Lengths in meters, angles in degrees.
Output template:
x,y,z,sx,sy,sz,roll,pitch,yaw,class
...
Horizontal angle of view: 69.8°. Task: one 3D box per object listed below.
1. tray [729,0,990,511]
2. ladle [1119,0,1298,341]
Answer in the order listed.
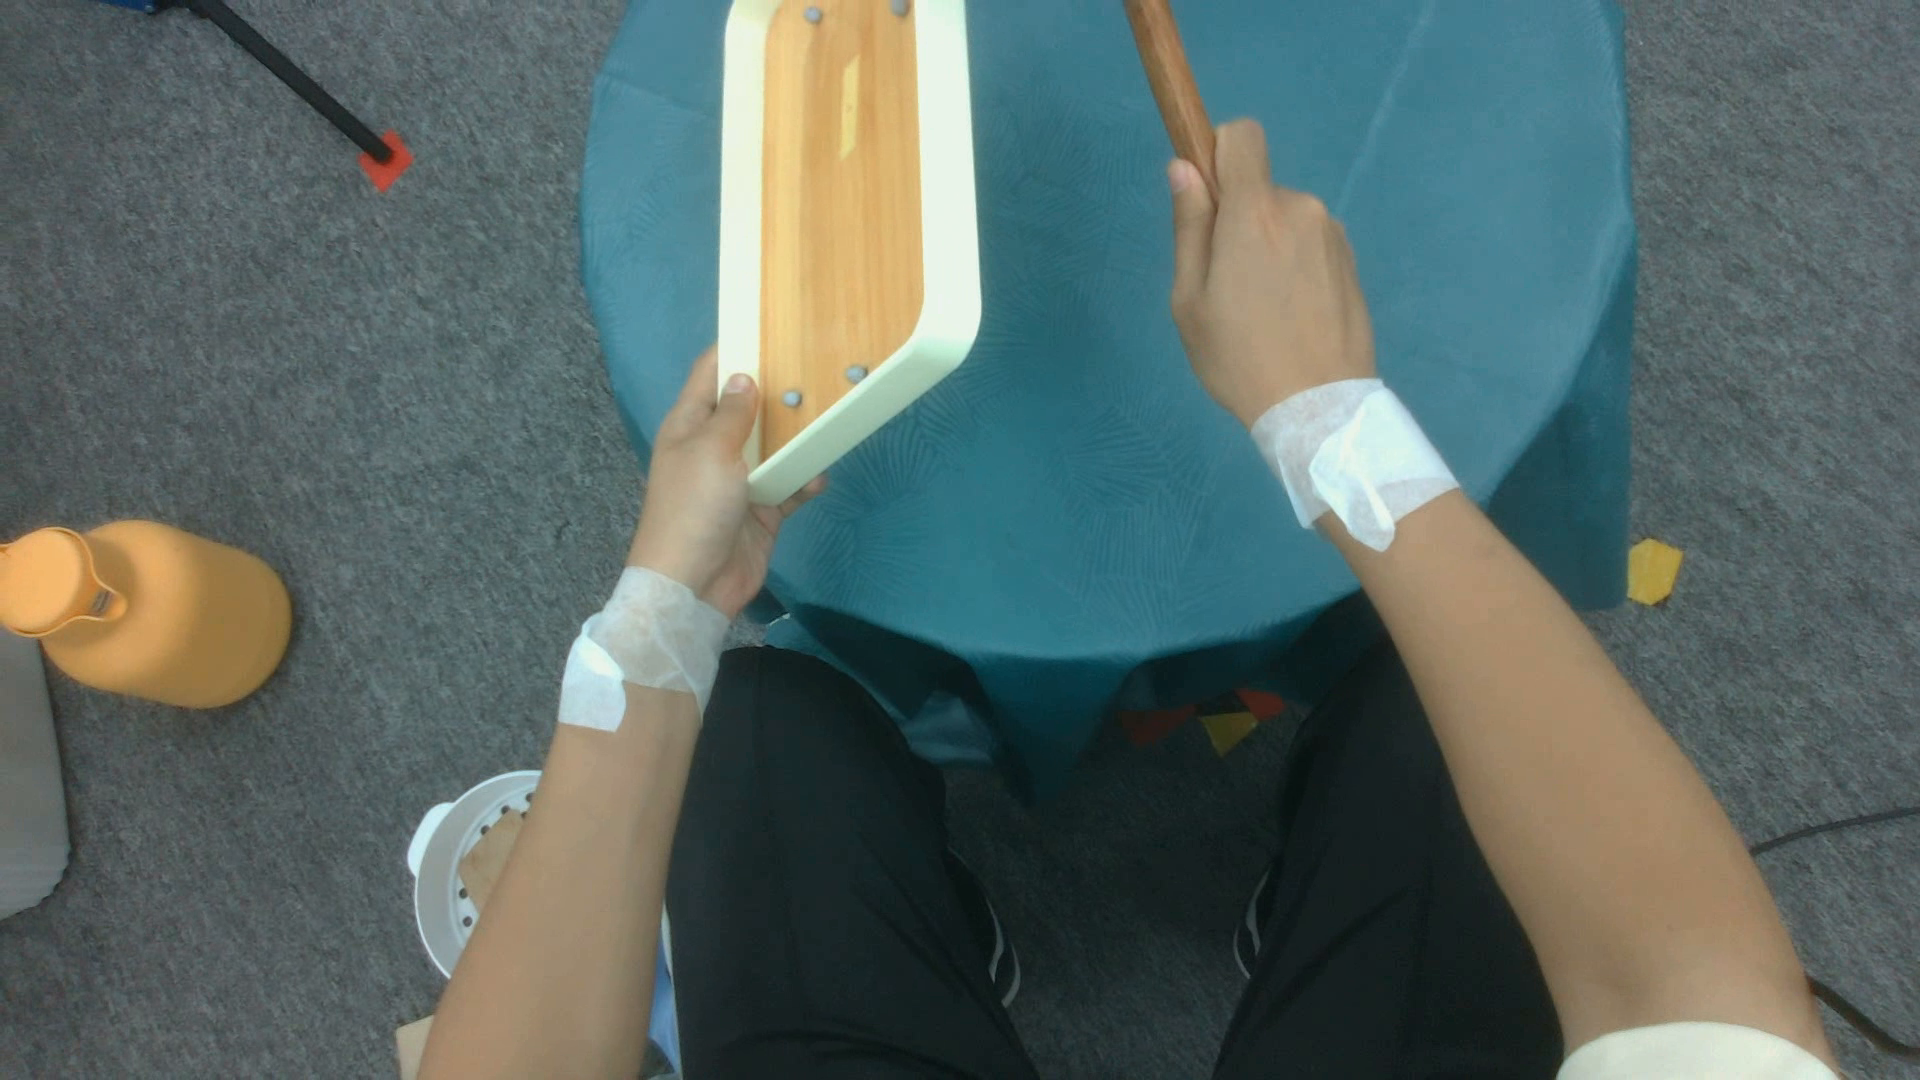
x,y,z,sx,sy,sz,roll,pitch,yaw,class
-0.053,-0.179,0.659,0.027,0.190,0.301,13,63,-32,tray
0.065,-0.203,0.599,0.077,0.082,0.274,-24,96,-9,ladle
